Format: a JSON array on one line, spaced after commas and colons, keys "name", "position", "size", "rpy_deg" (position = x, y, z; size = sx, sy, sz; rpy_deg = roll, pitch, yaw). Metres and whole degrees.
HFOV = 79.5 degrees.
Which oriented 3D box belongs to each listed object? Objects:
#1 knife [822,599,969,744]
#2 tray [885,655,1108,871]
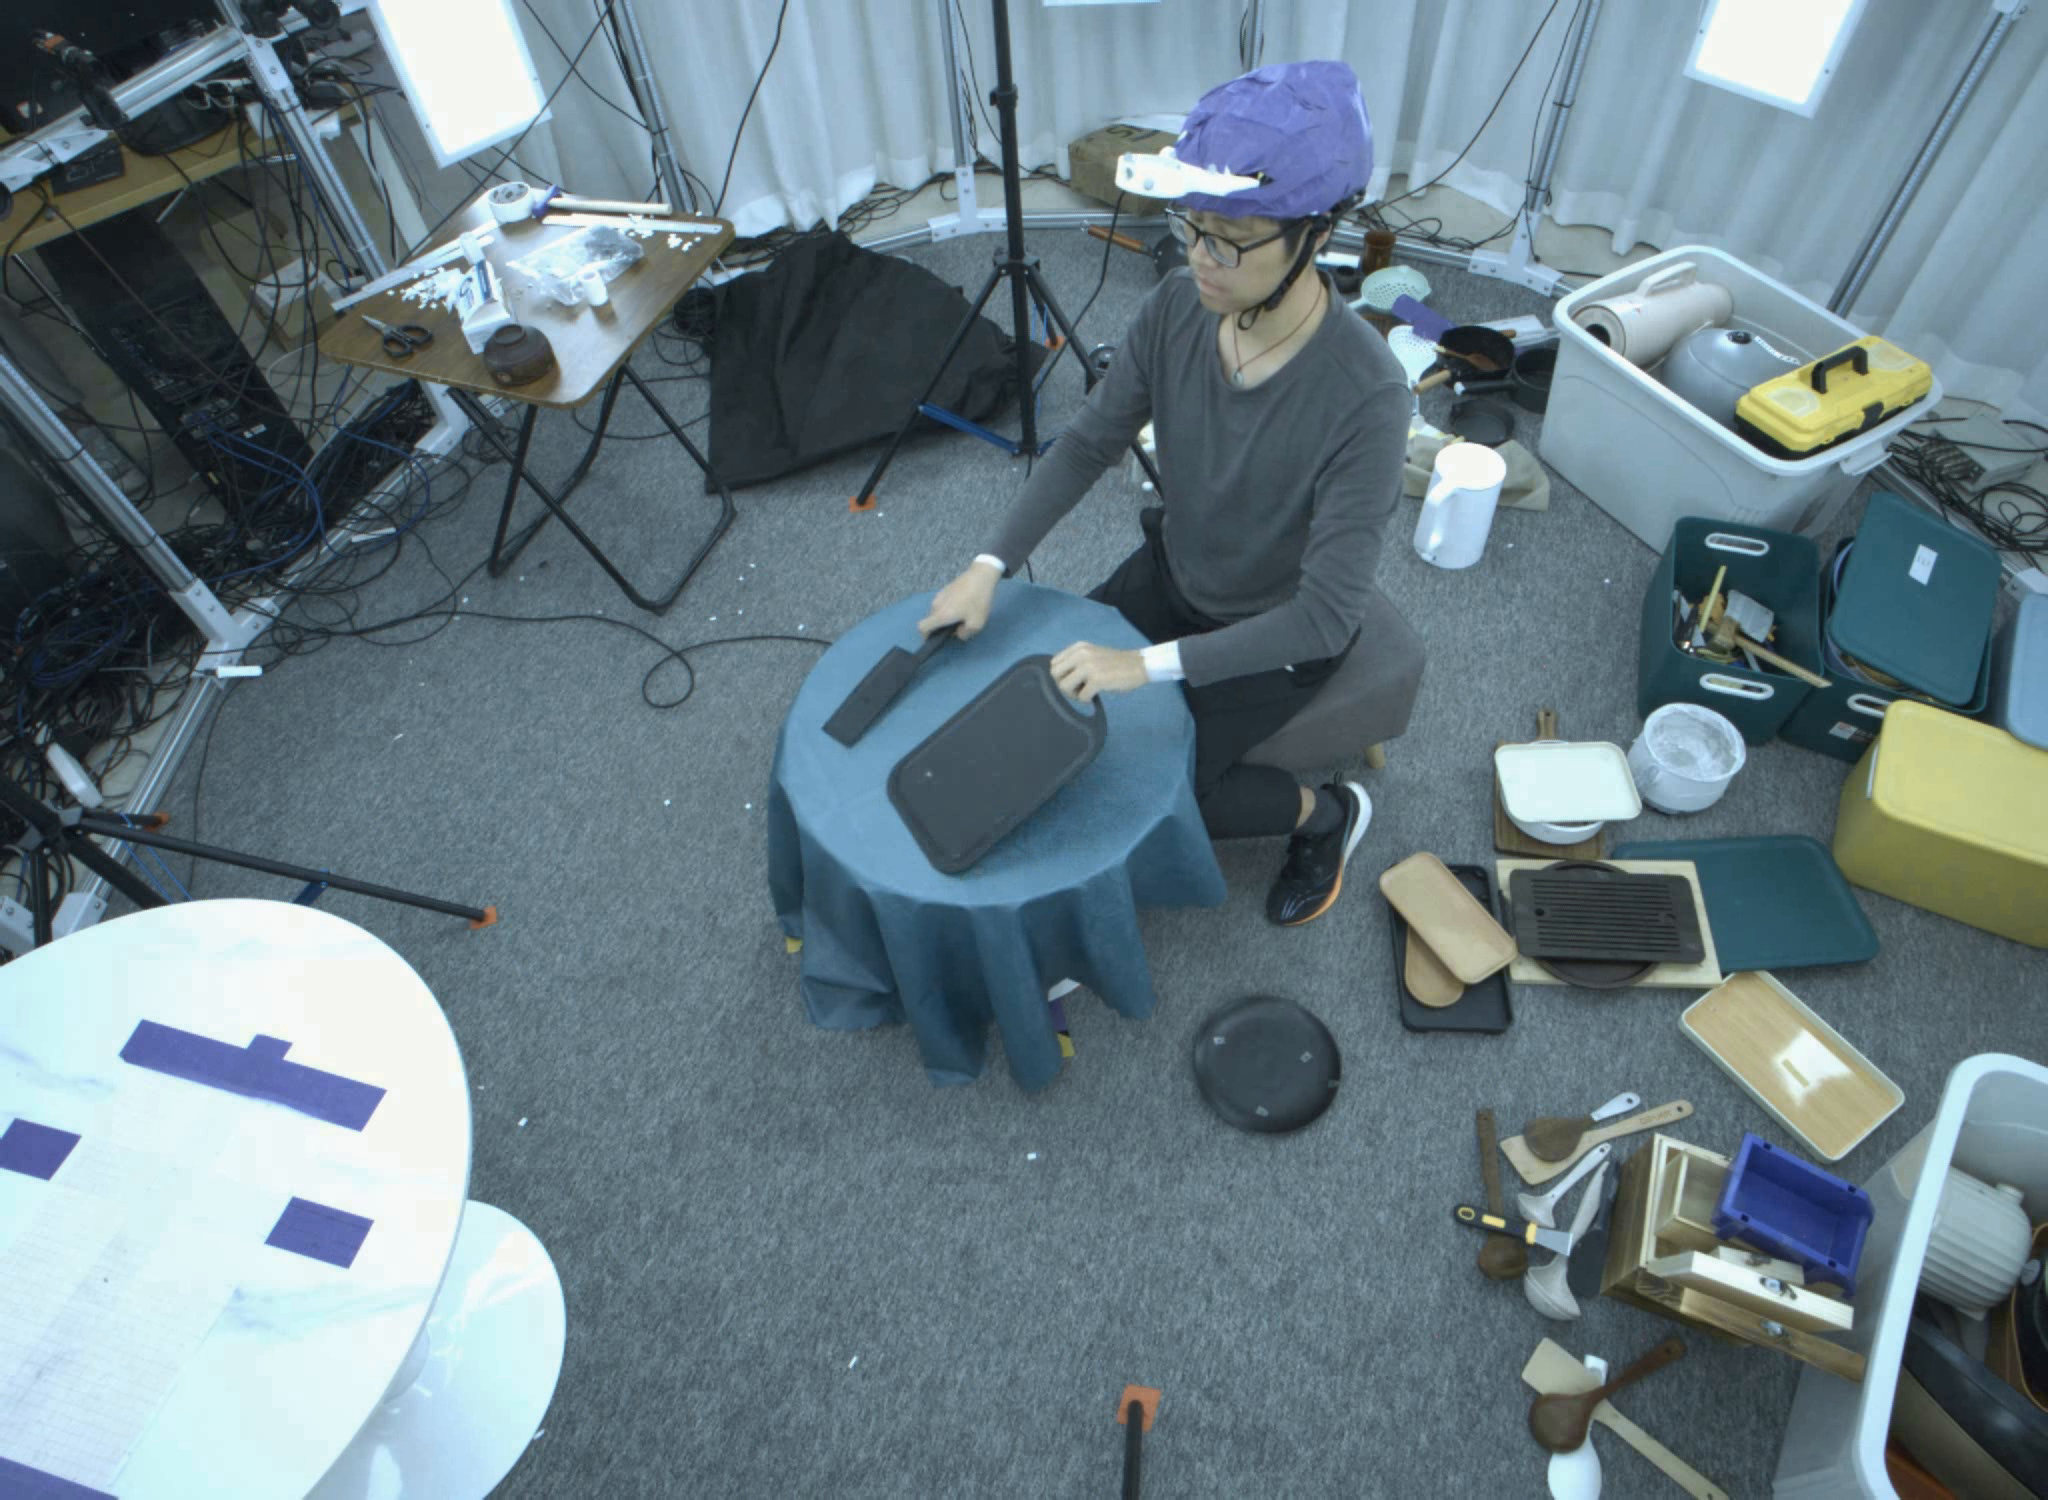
[{"name": "knife", "position": [-0.190, -0.126, 1.865], "size": [0.079, 0.021, 0.303], "rpy_deg": [32, 68, 28]}, {"name": "tray", "position": [-0.038, 0.008, 1.710], "size": [0.325, 0.010, 0.207], "rpy_deg": [-39, 60, 2]}]
